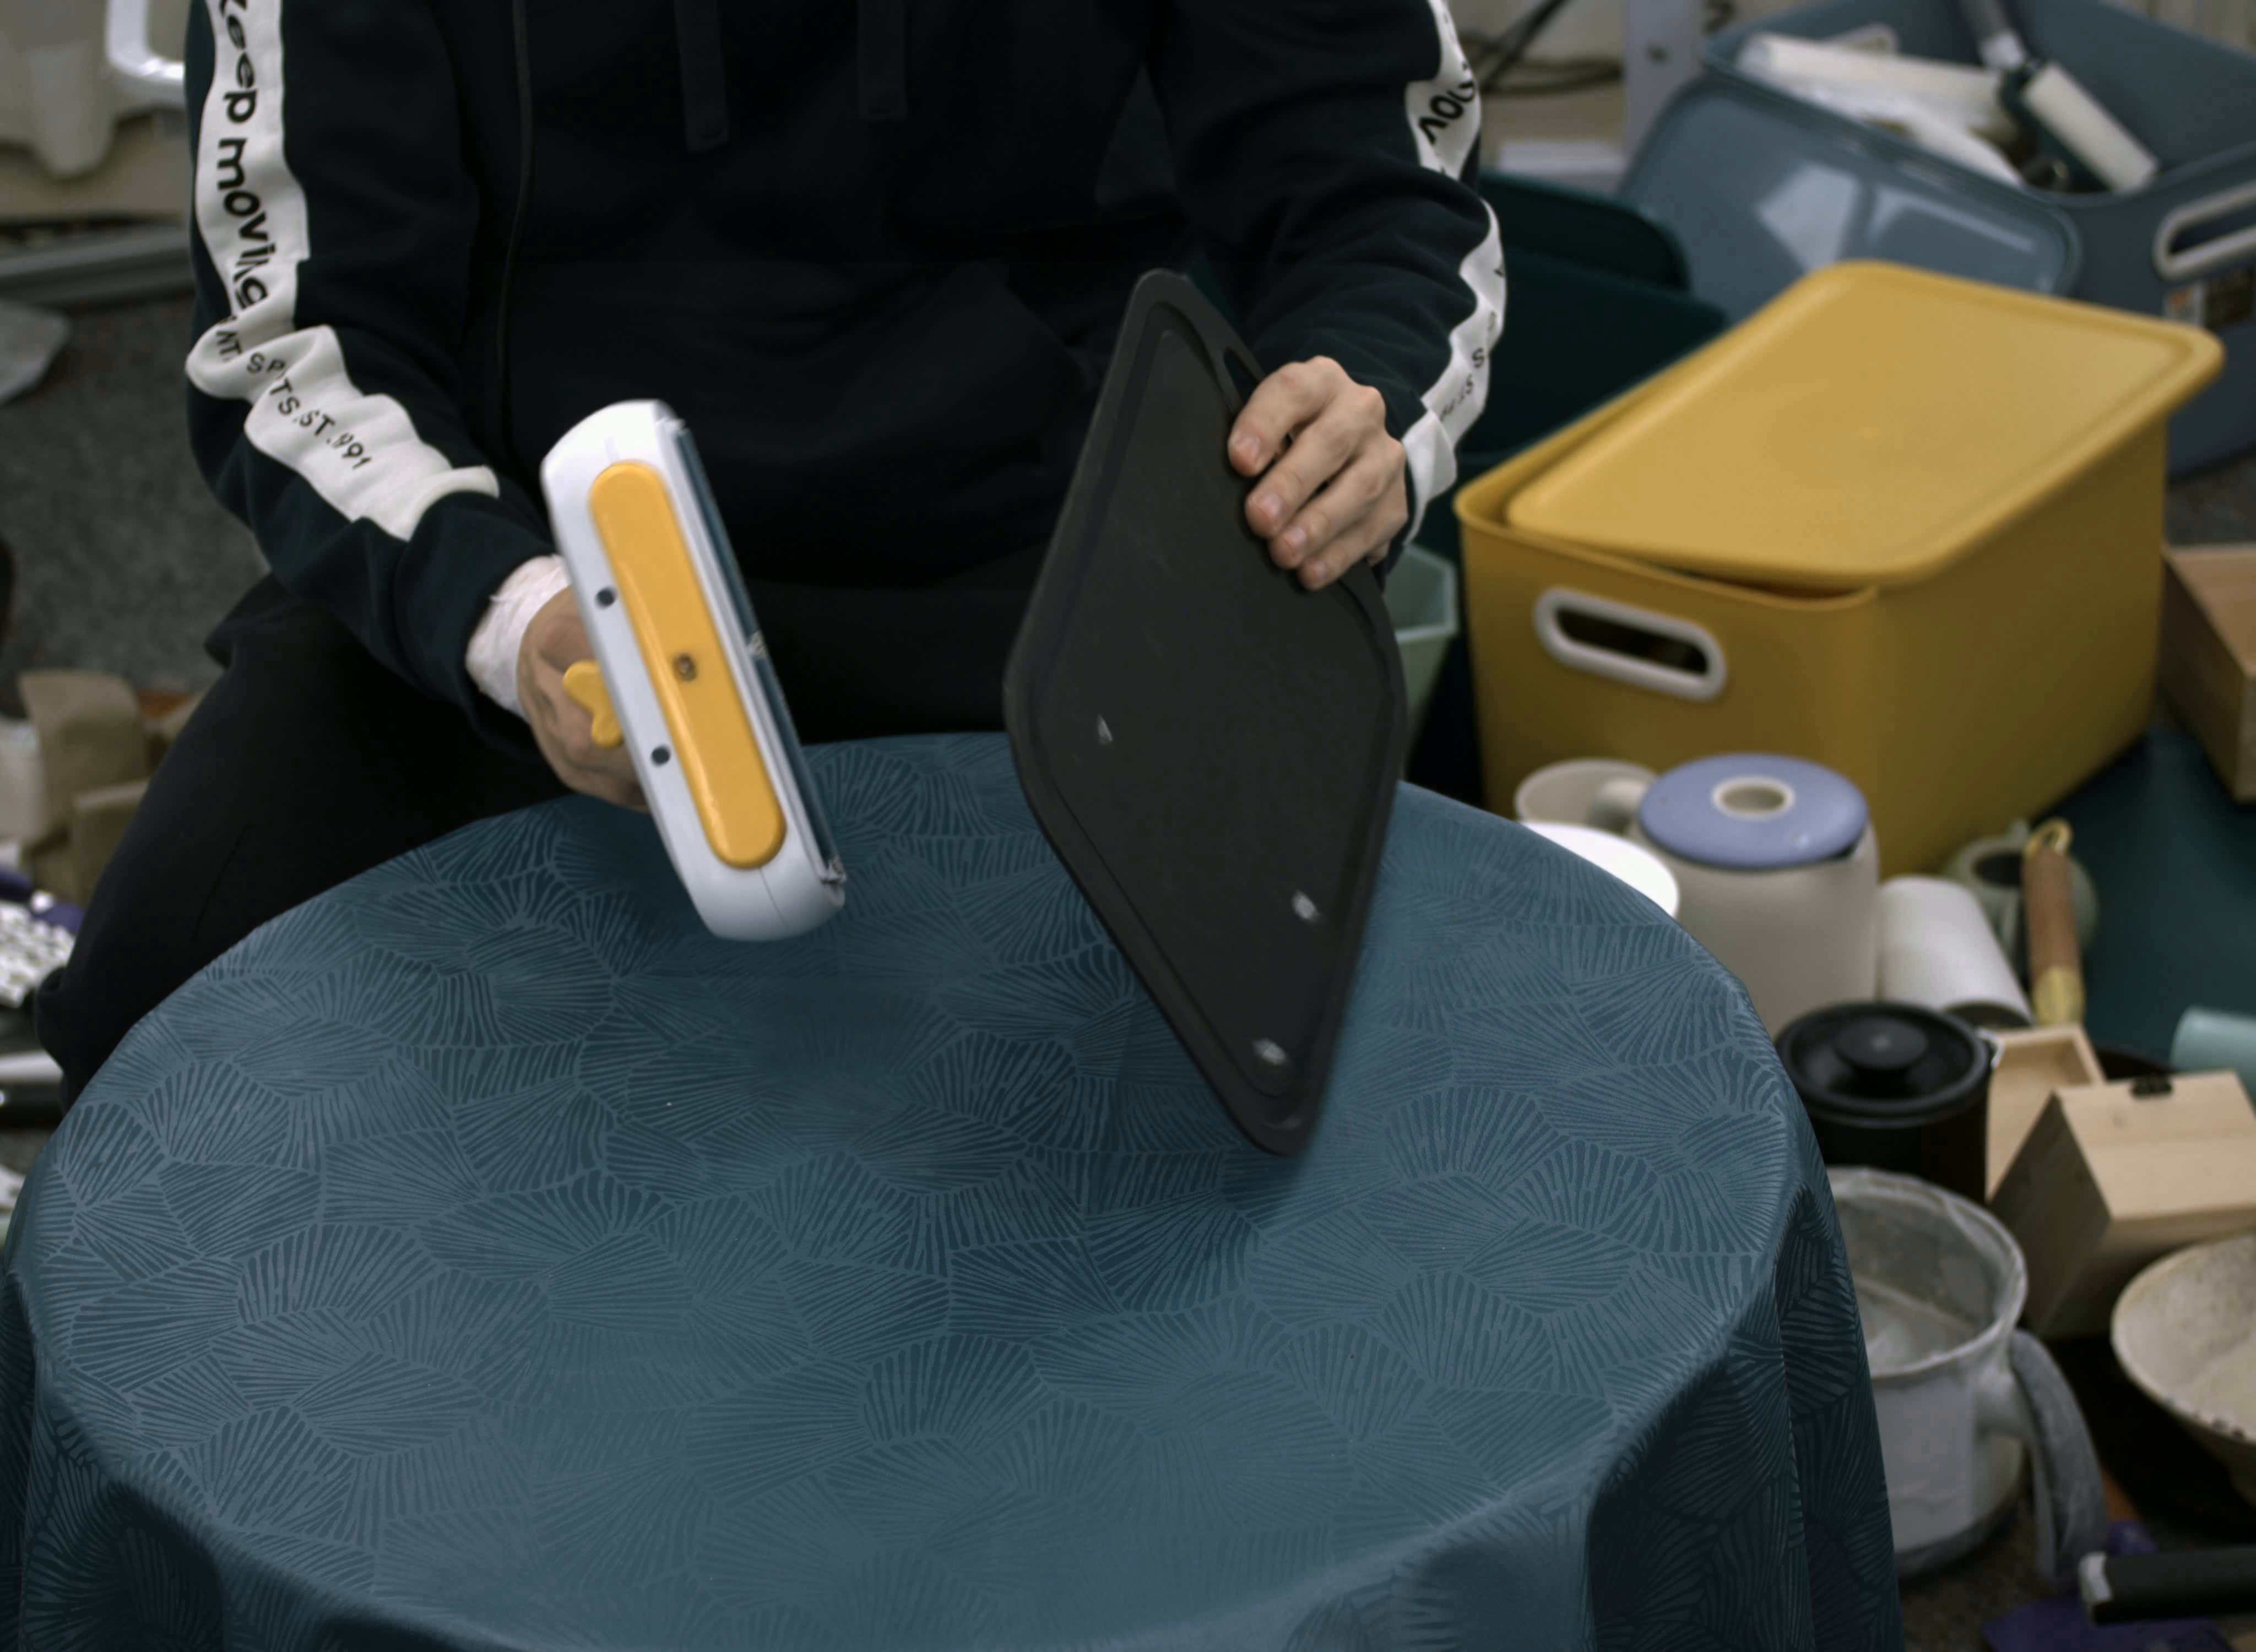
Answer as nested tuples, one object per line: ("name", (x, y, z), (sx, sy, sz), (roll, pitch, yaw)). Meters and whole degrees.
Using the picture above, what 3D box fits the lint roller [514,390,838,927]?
("lint roller", (-0.158, -0.045, 1.987), (0.074, 0.194, 0.191), (-26, -9, -2))

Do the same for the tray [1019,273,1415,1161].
("tray", (0.037, -0.048, 1.924), (0.009, 0.209, 0.332), (-20, 30, 25))
